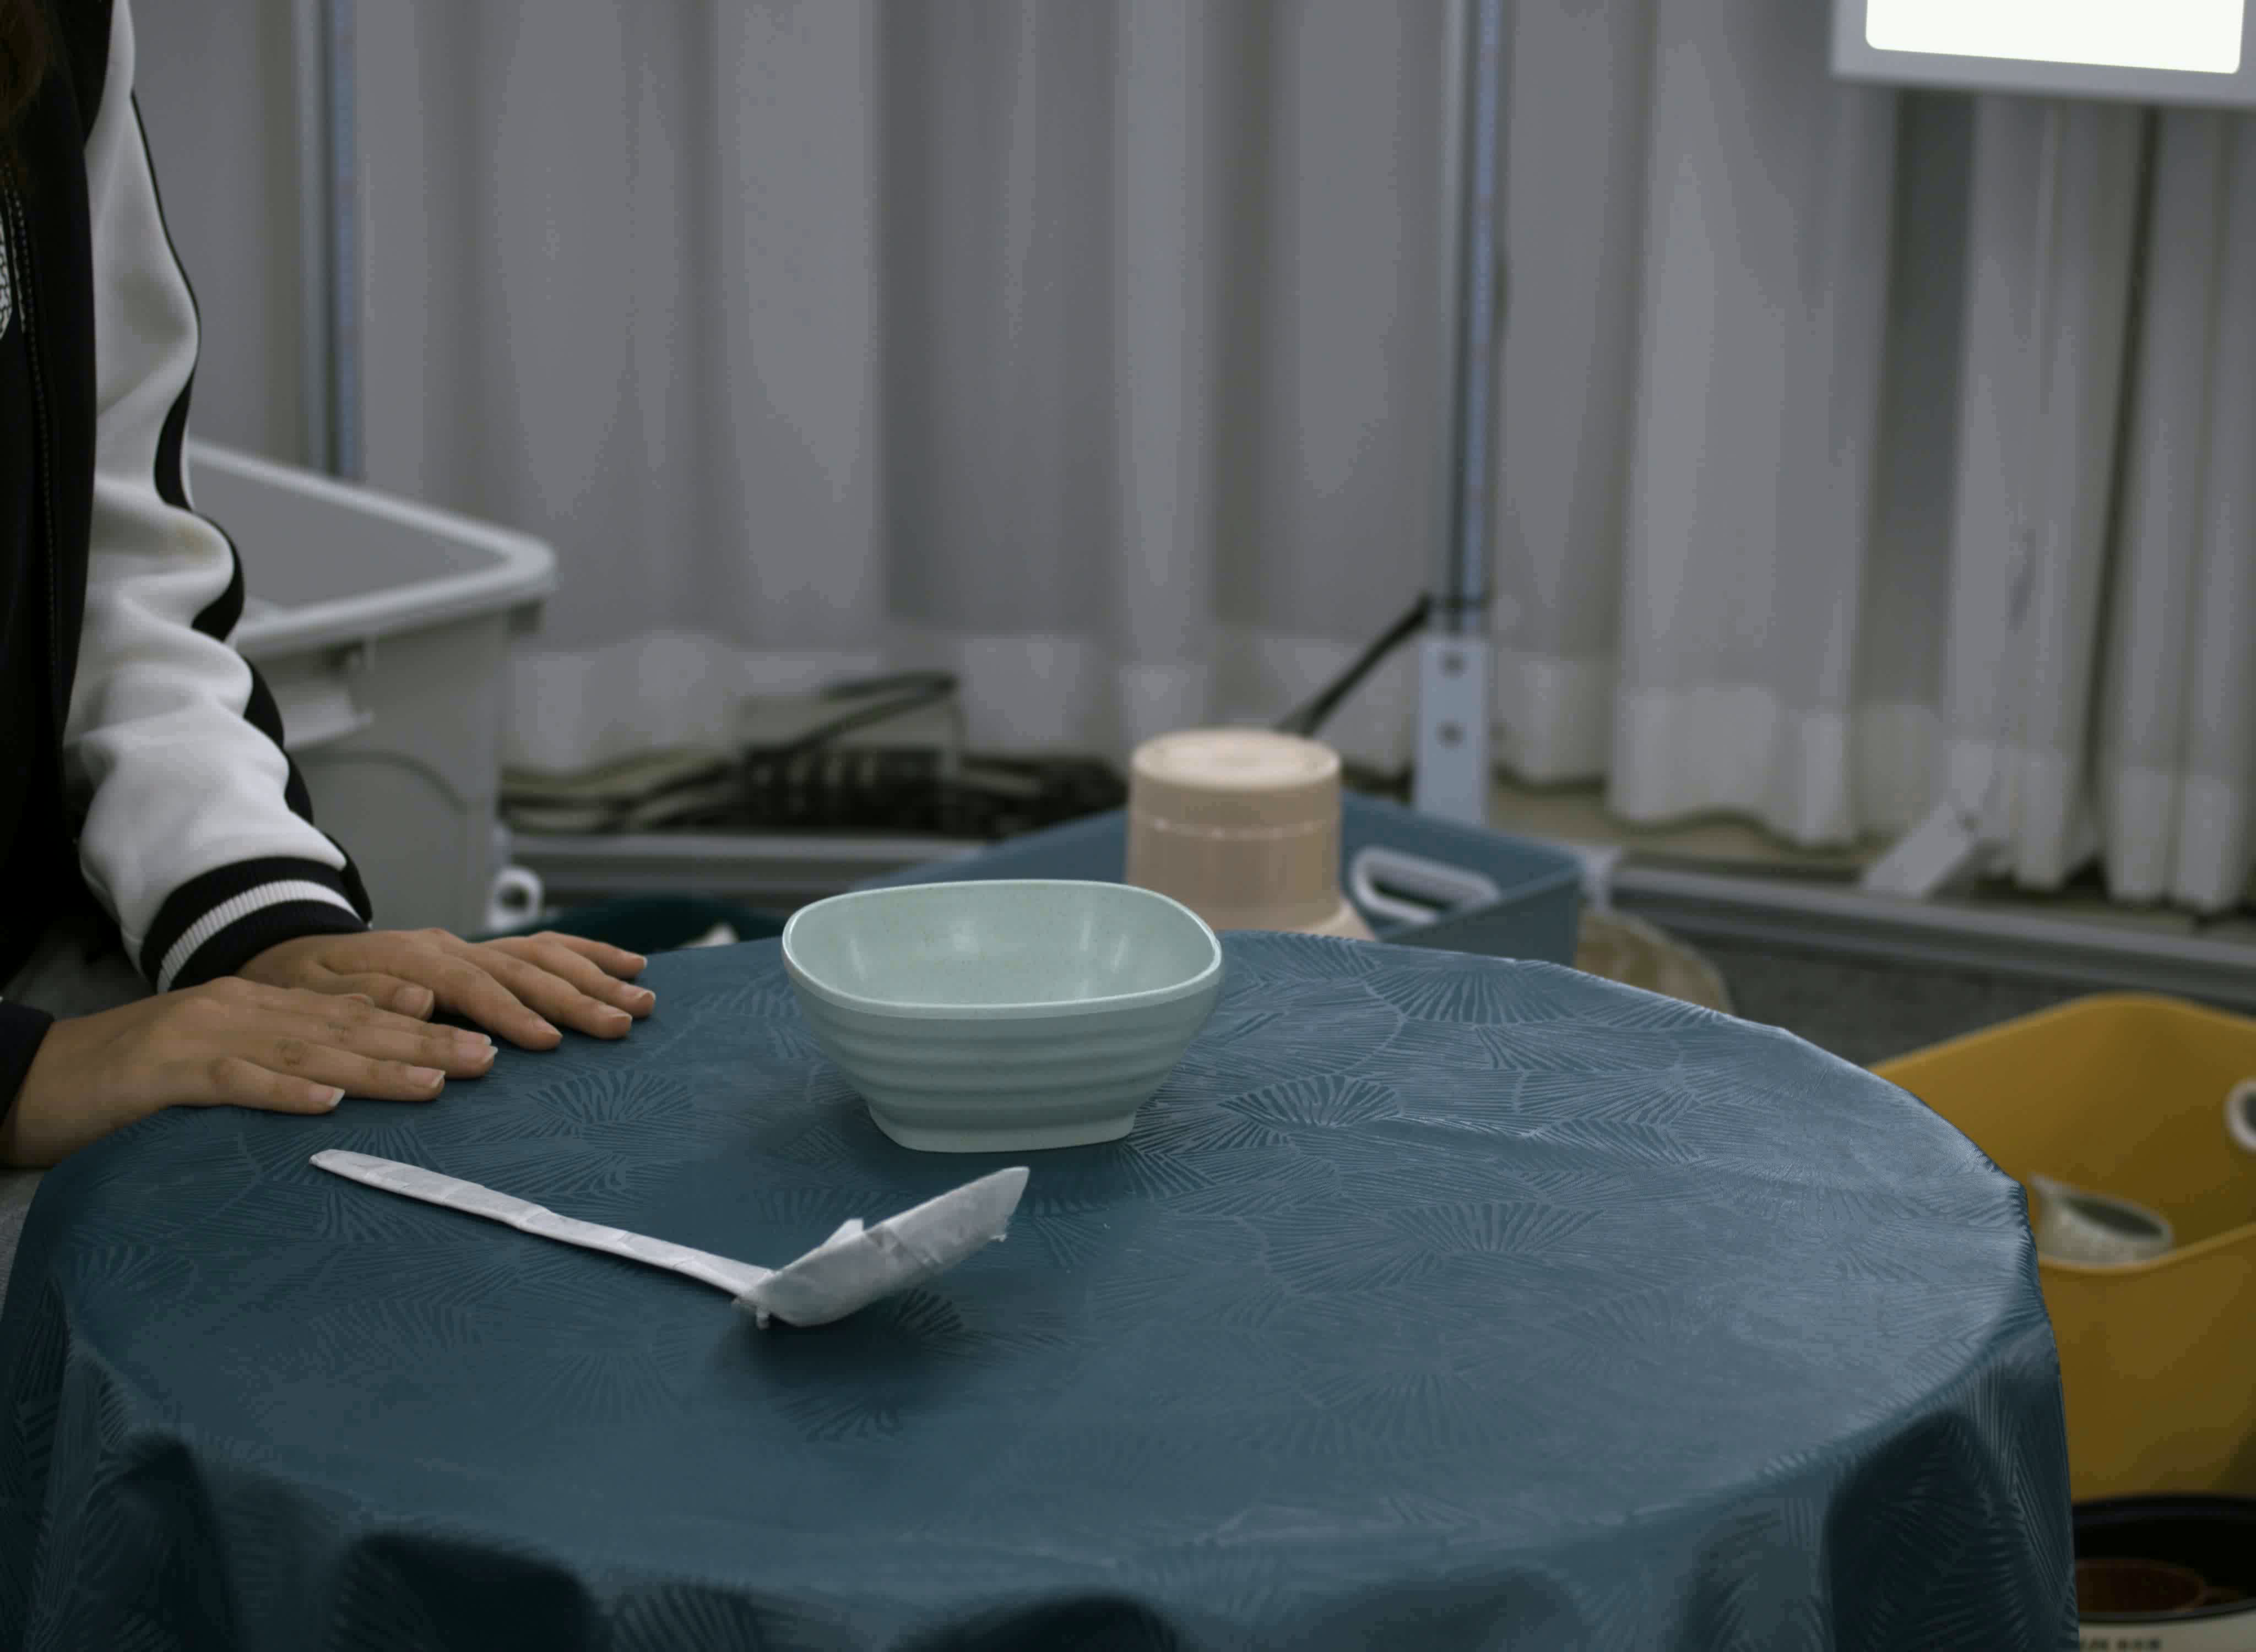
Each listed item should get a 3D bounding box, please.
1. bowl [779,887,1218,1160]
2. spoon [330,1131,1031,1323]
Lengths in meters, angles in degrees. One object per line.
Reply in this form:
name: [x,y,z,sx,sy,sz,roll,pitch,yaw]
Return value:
bowl: [-0.041,0.066,1.688,0.151,0.059,0.150,1,15,0]
spoon: [-0.141,0.098,1.560,0.274,0.060,0.101,14,16,40]
